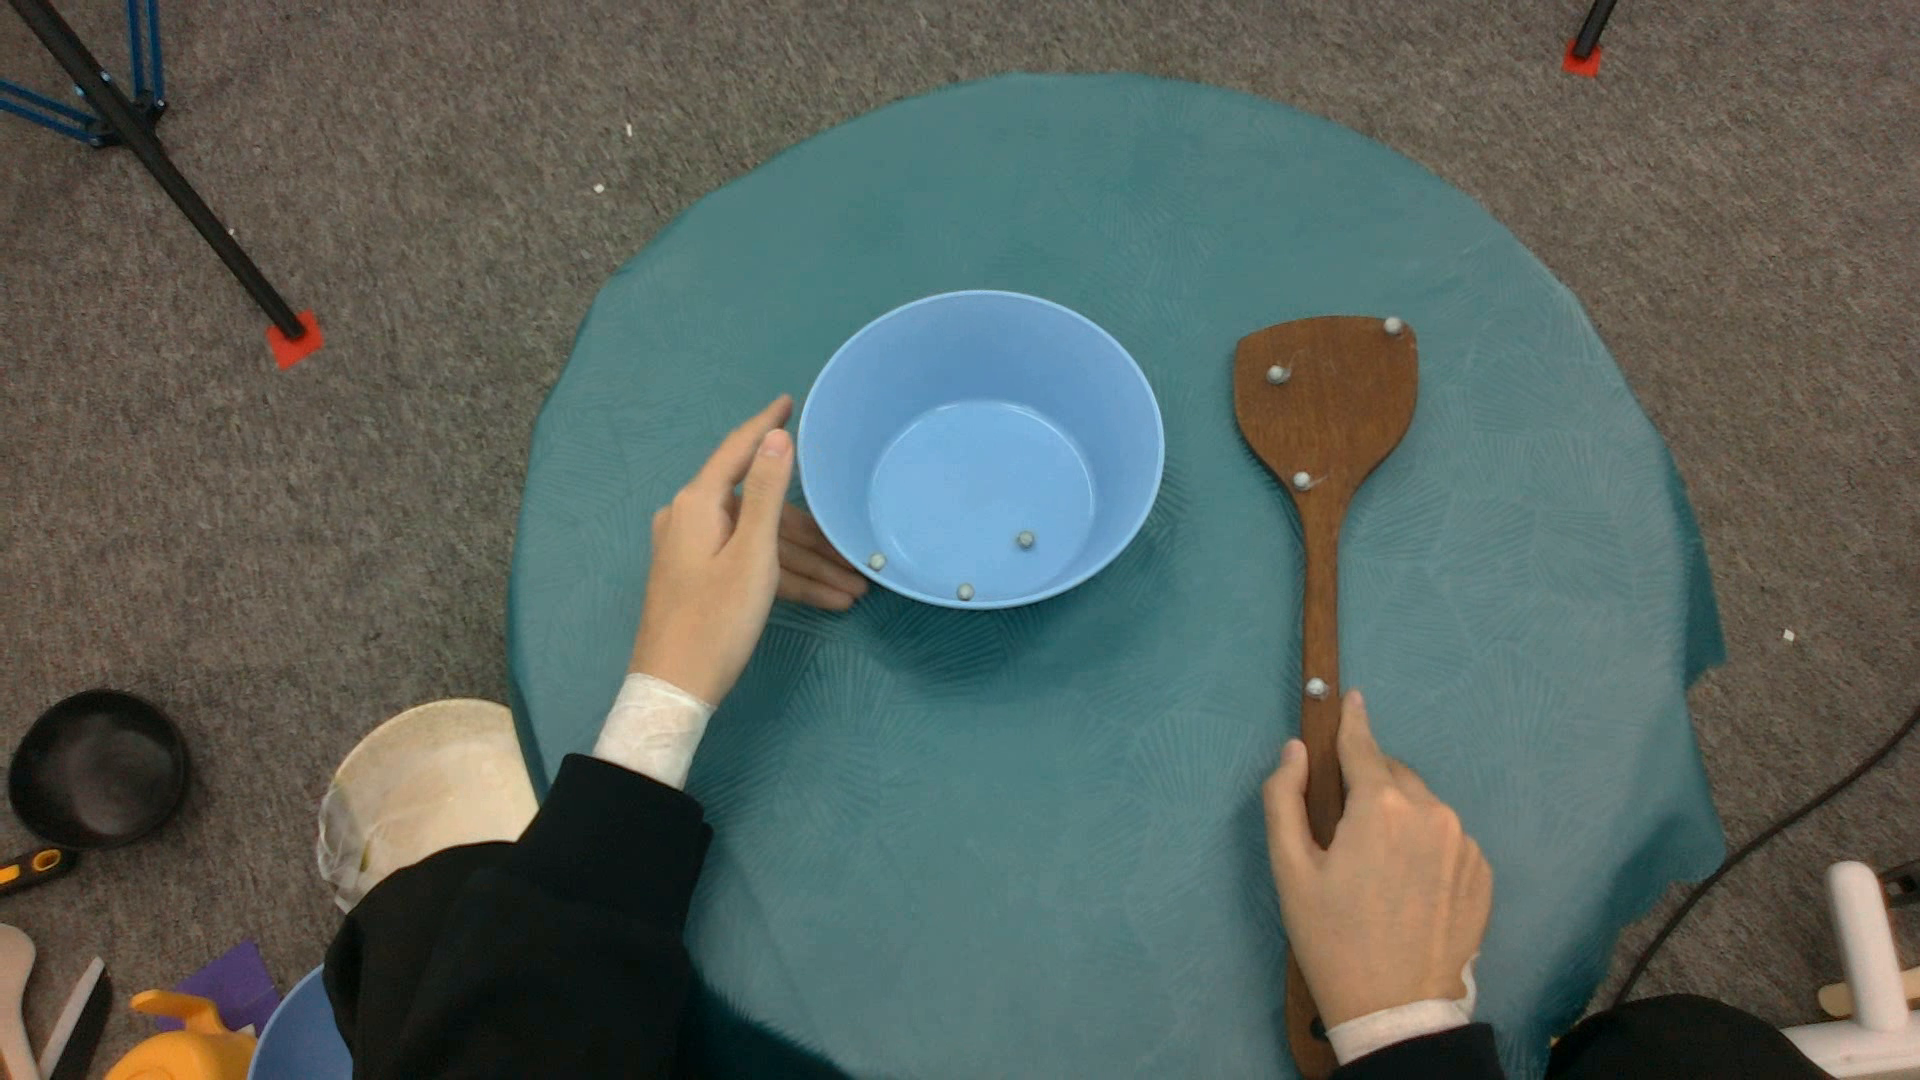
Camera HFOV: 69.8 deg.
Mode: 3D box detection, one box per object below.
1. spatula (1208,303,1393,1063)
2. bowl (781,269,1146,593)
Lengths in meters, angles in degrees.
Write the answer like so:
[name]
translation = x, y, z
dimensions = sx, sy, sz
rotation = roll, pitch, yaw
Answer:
[spatula]
translation = 0.164, 0.046, 0.662
dimensions = 0.096, 0.016, 0.387
rotation = -1, 63, 16
[bowl]
translation = 0.002, -0.044, 0.687
dimensions = 0.176, 0.070, 0.176
rotation = 0, 66, 1
